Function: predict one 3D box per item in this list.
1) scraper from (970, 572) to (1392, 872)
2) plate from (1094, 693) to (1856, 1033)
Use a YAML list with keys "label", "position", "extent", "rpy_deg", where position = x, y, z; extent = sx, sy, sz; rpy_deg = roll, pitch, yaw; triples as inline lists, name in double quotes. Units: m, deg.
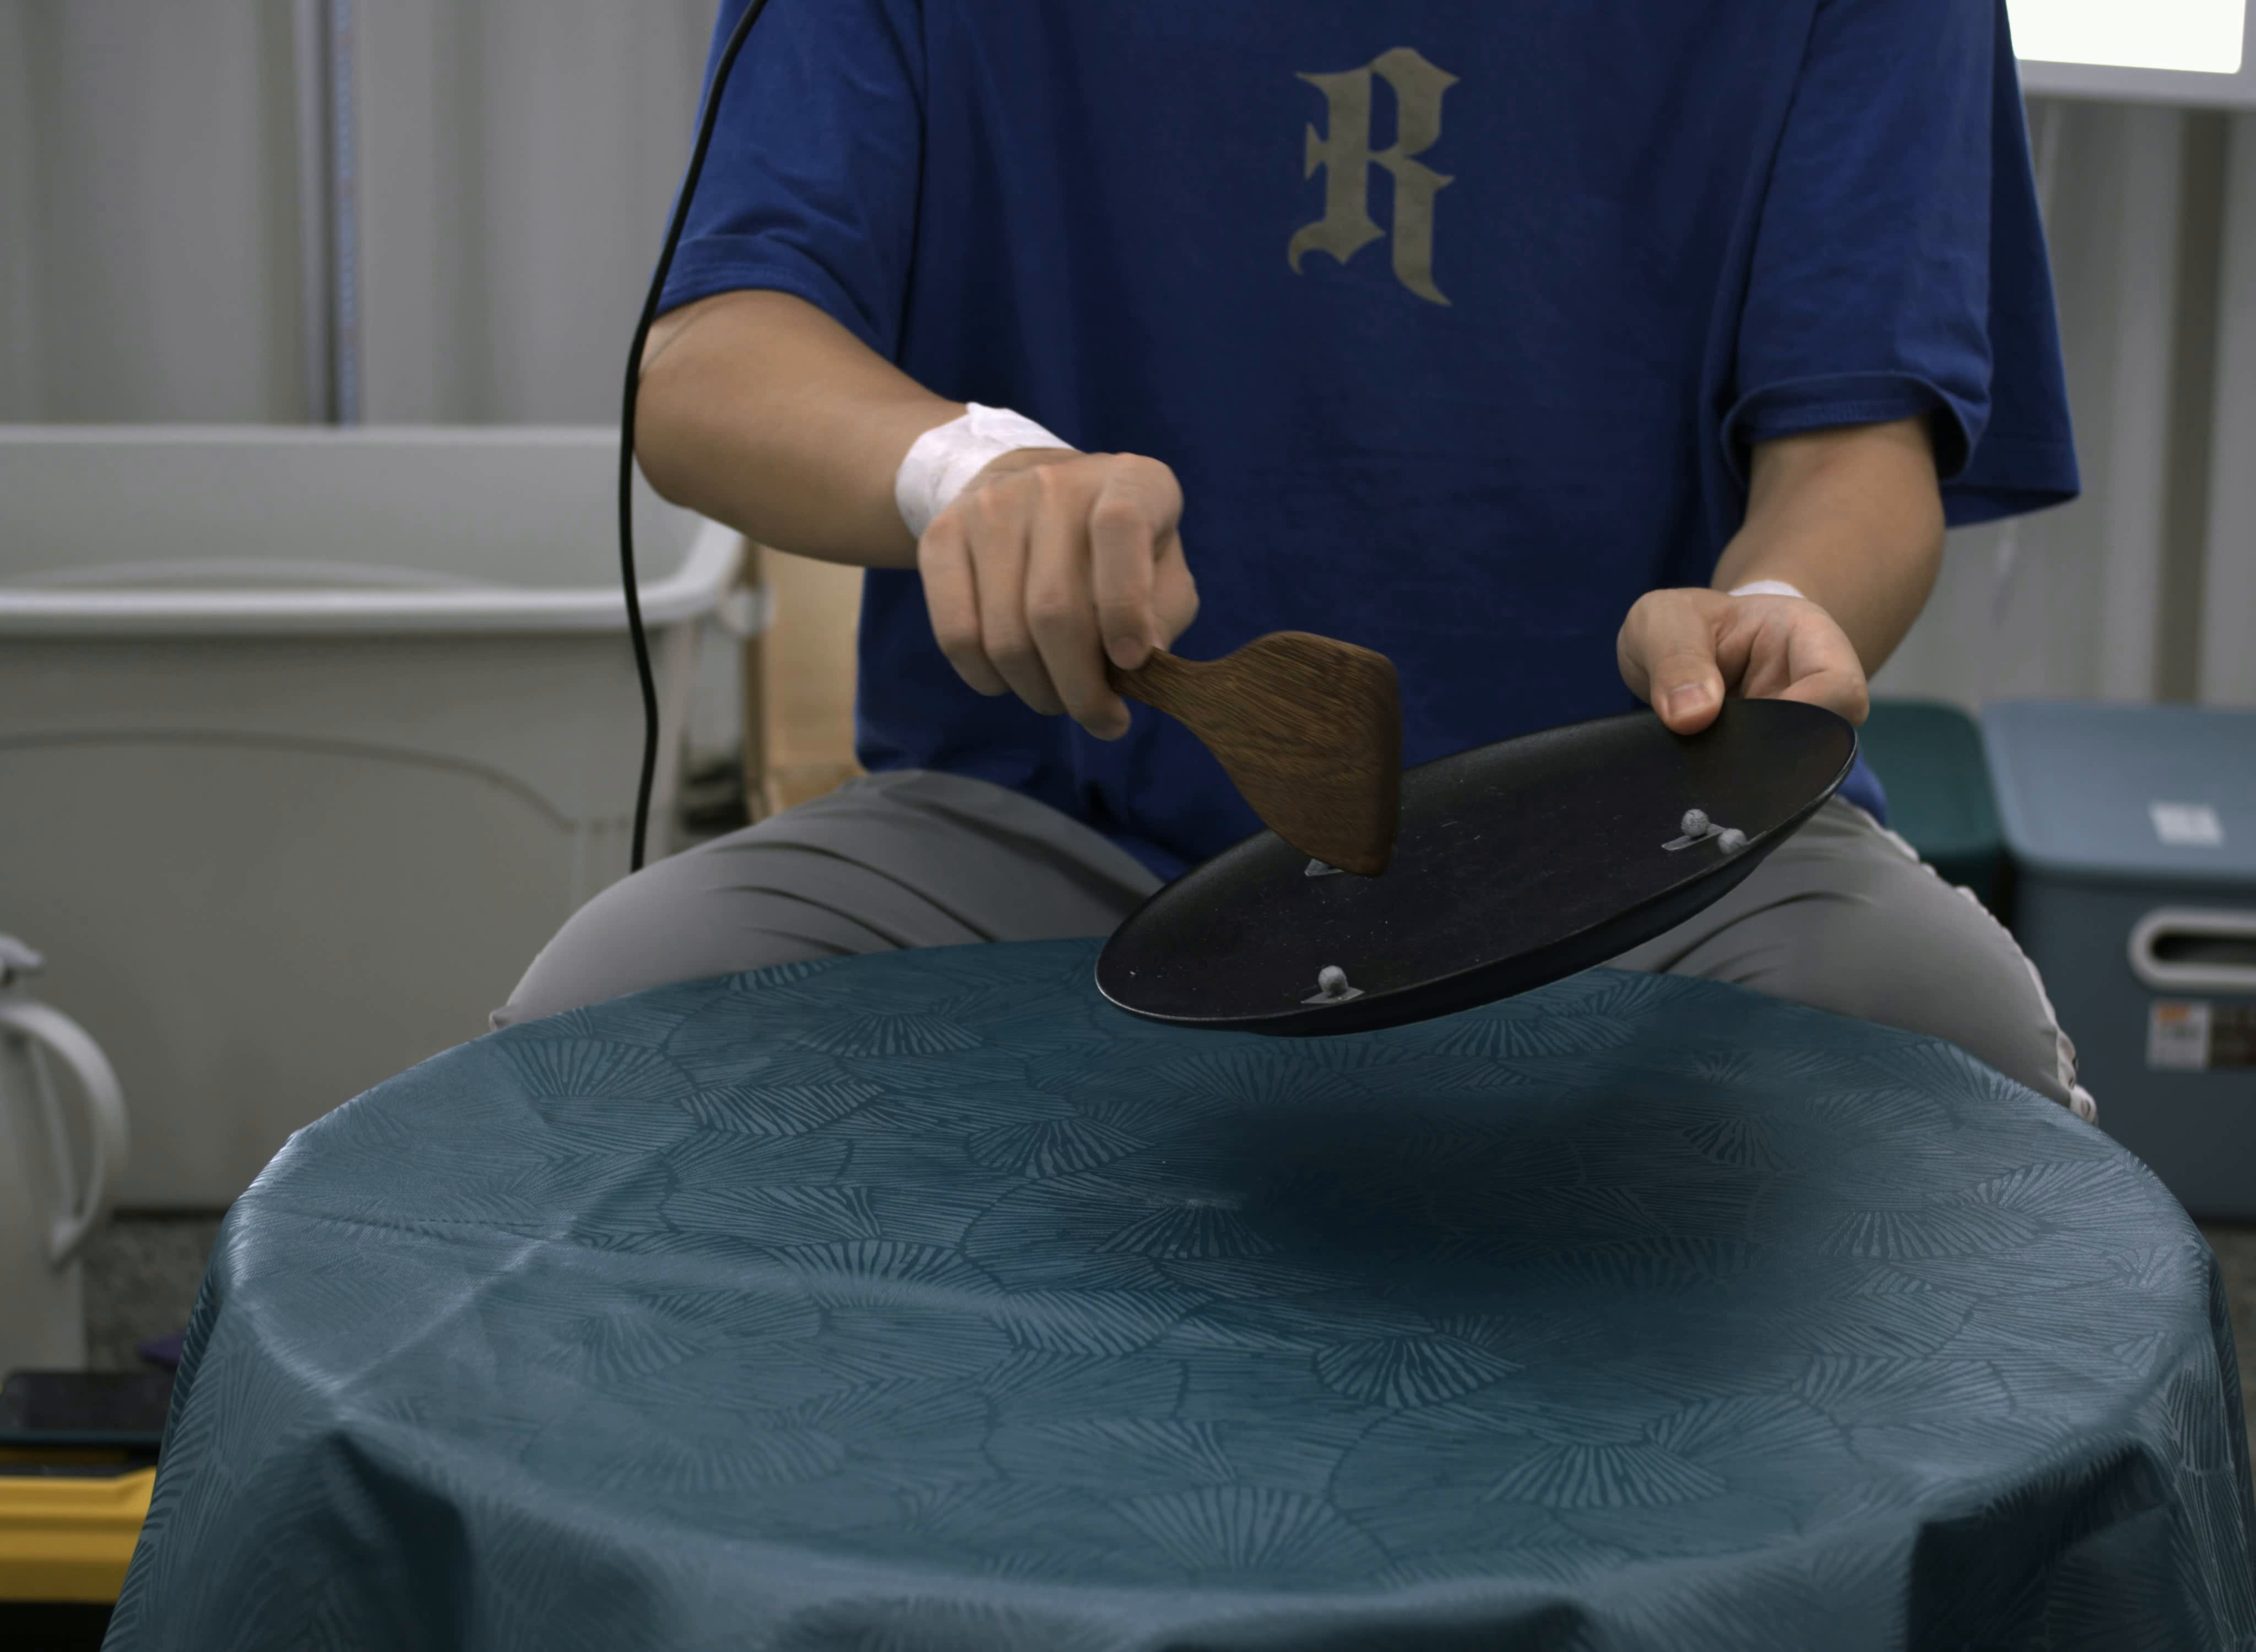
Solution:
- label: "scraper"
  position: [0.012, -0.045, 1.658]
  extent: [0.011, 0.076, 0.208]
  rpy_deg: [-17, 25, -34]
- label: "plate"
  position: [0.107, 0.016, 1.605]
  extent: [0.243, 0.023, 0.243]
  rpy_deg: [-18, 14, 5]
